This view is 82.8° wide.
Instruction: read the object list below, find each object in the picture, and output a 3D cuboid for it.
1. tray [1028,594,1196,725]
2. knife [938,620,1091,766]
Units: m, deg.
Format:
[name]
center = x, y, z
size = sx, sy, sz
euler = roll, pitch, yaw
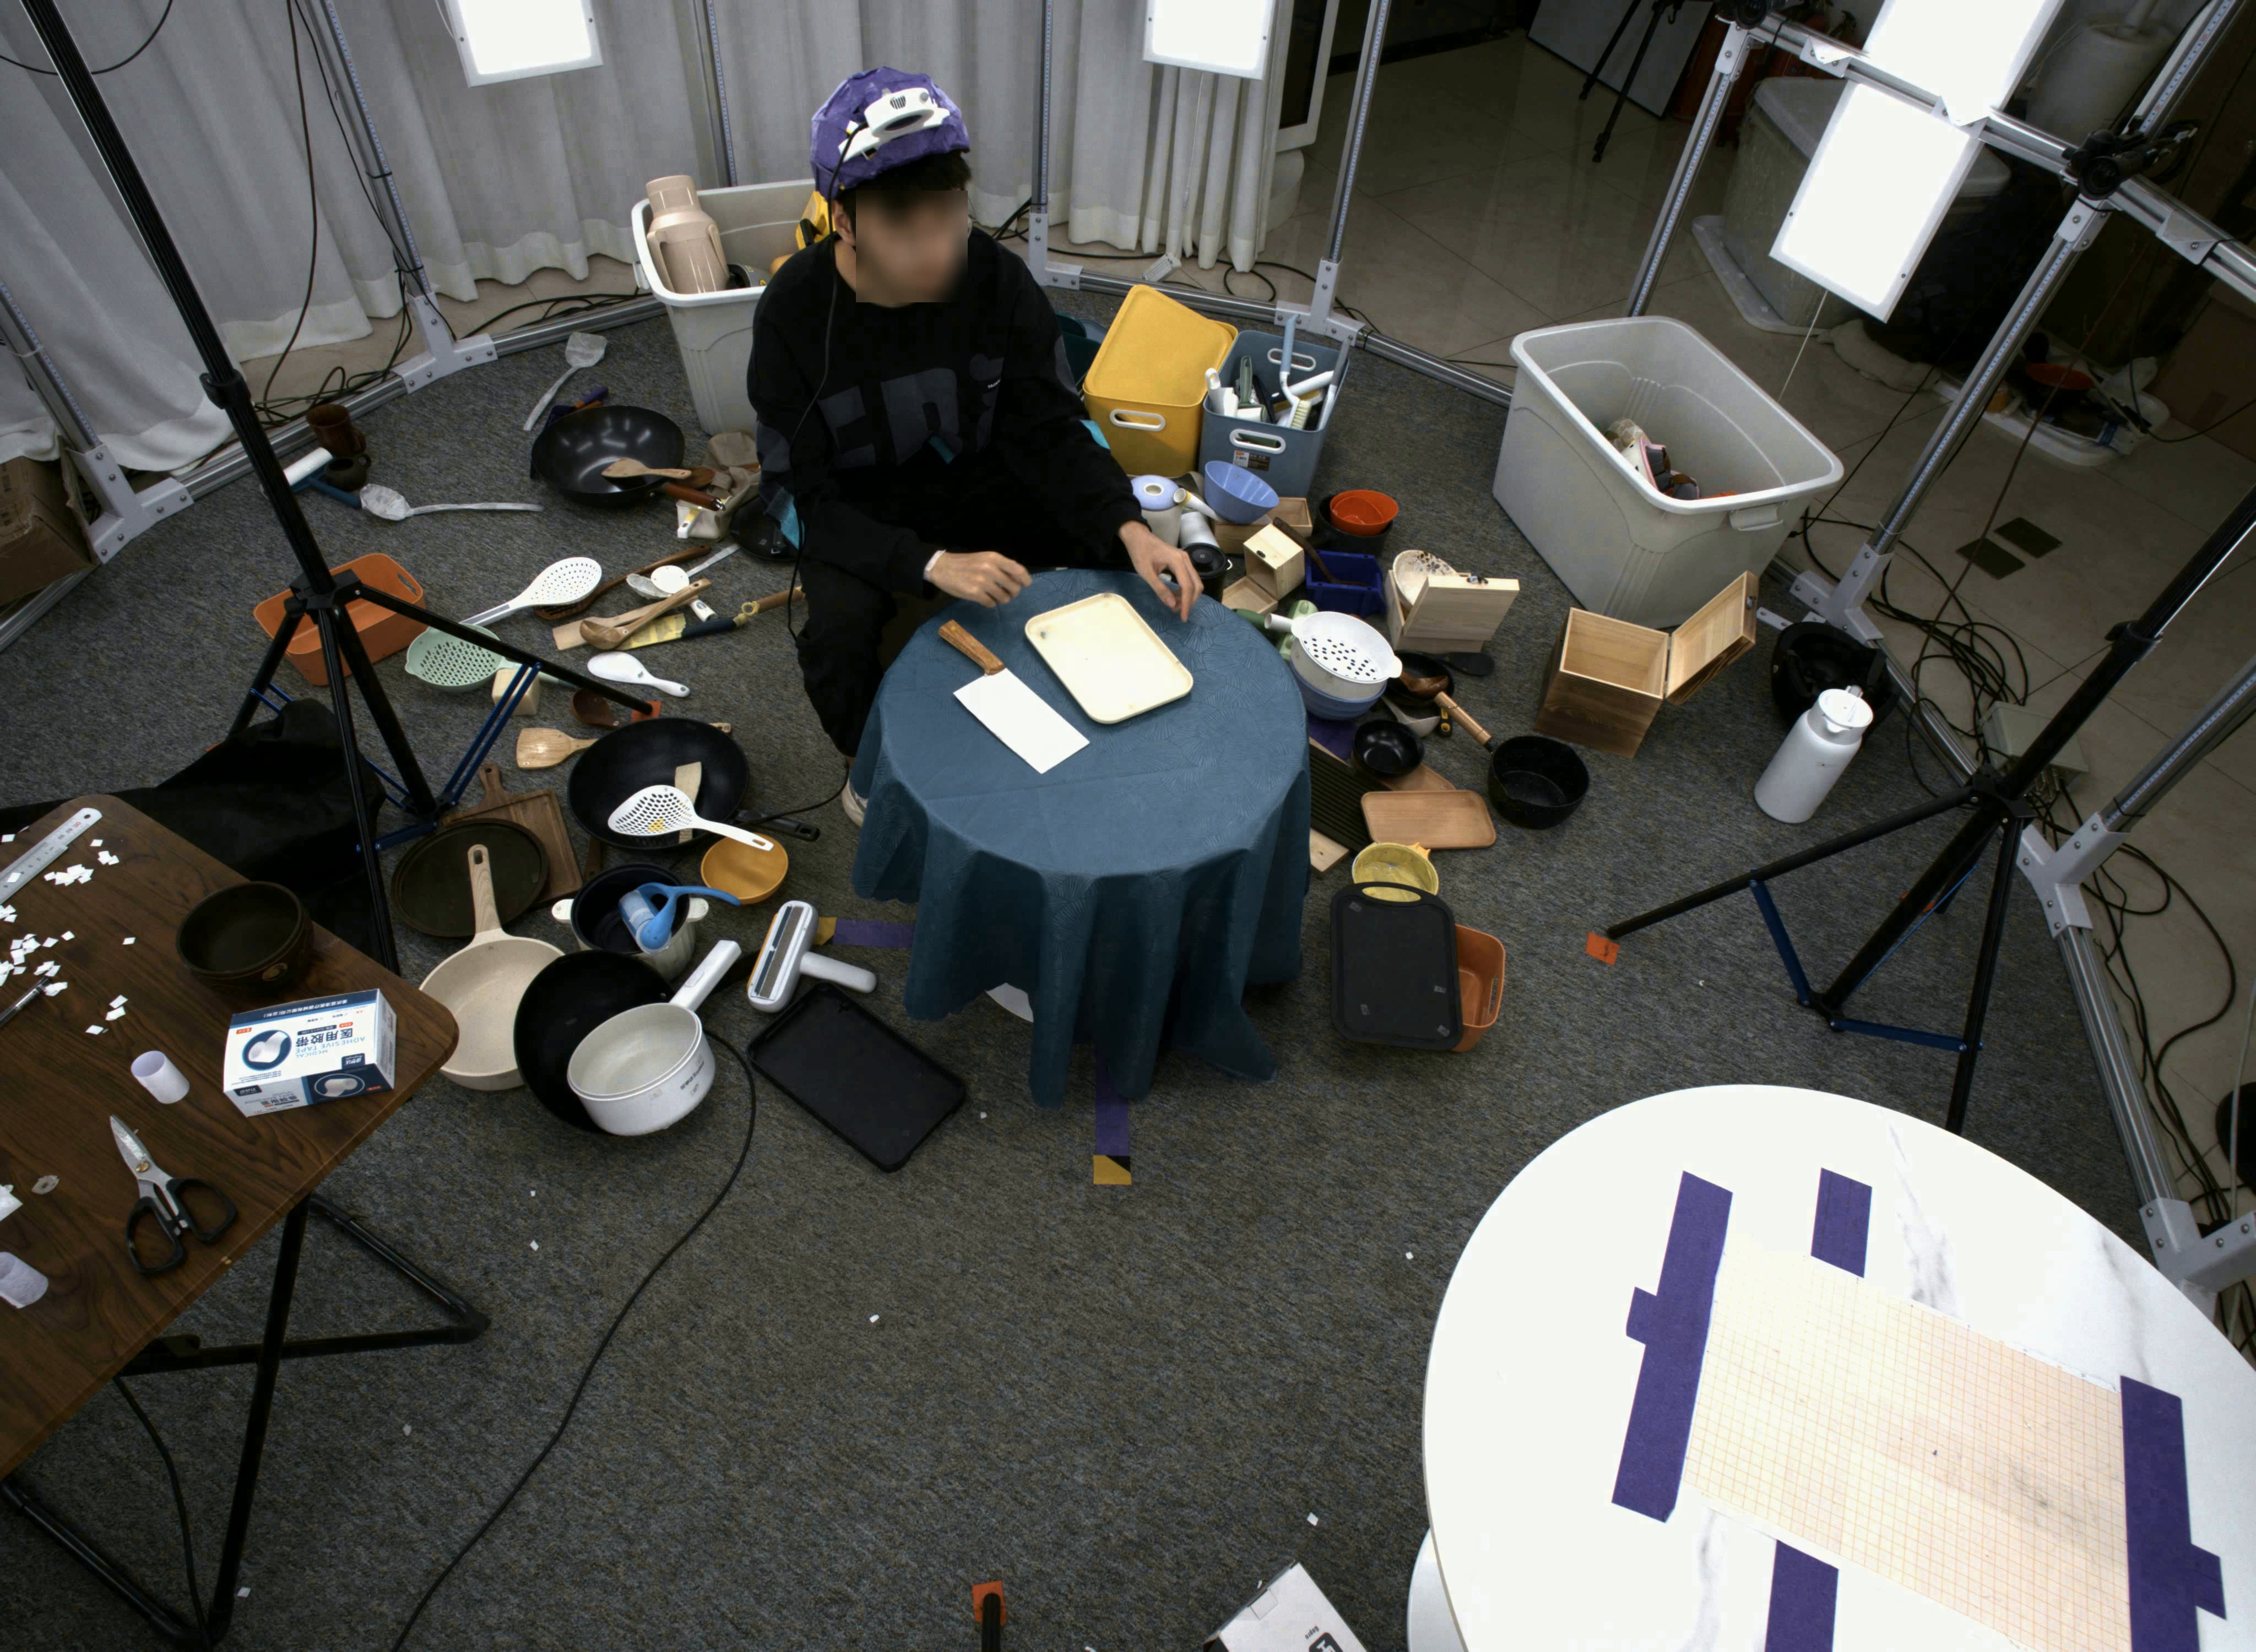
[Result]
[tray]
center = -0.025, -0.244, 1.867
size = 0.172, 0.017, 0.245
euler = -23, 54, -21
[knife]
center = -0.182, -0.187, 1.809
size = 0.093, 0.020, 0.310
euler = -34, 61, -27
